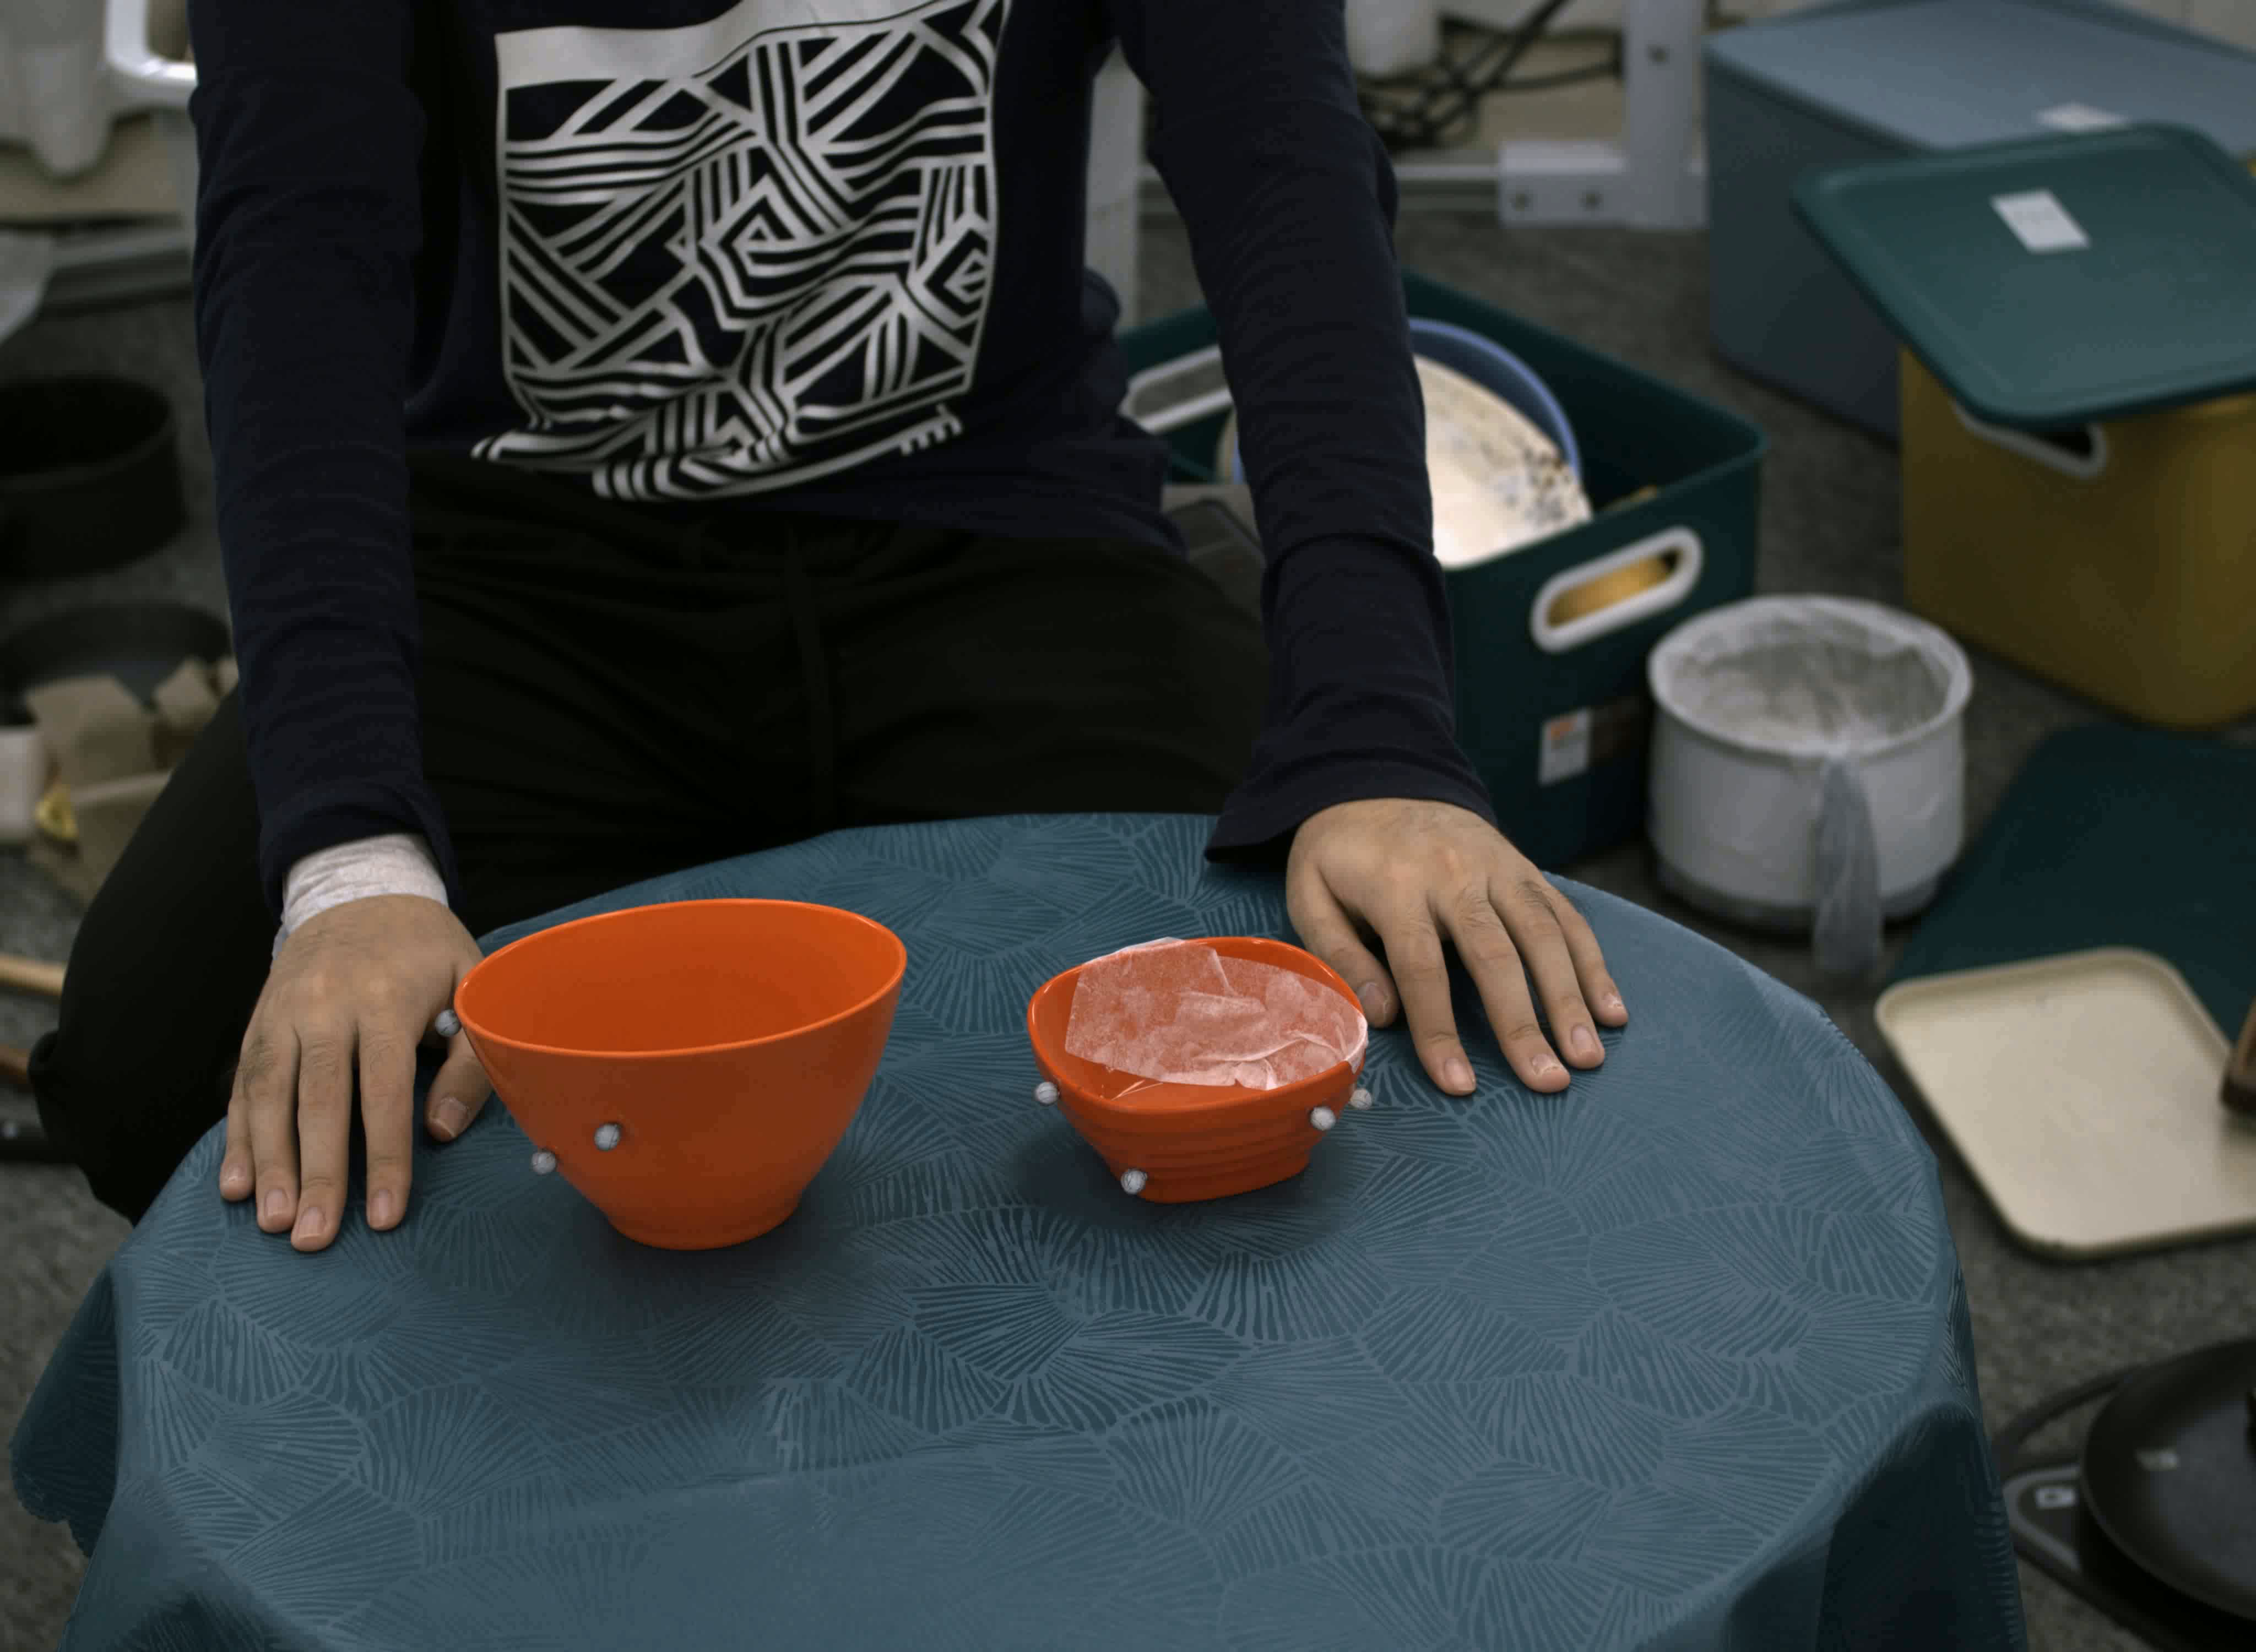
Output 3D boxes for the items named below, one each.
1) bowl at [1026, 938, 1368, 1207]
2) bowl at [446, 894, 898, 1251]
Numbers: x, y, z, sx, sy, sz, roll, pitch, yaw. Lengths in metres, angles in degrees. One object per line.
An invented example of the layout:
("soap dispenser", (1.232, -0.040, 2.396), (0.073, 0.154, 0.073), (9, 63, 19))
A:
("bowl", (0.024, 0.086, 1.875), (0.118, 0.051, 0.120), (-4, 26, 2))
("bowl", (-0.145, 0.085, 1.838), (0.147, 0.103, 0.150), (-3, 27, 2))
